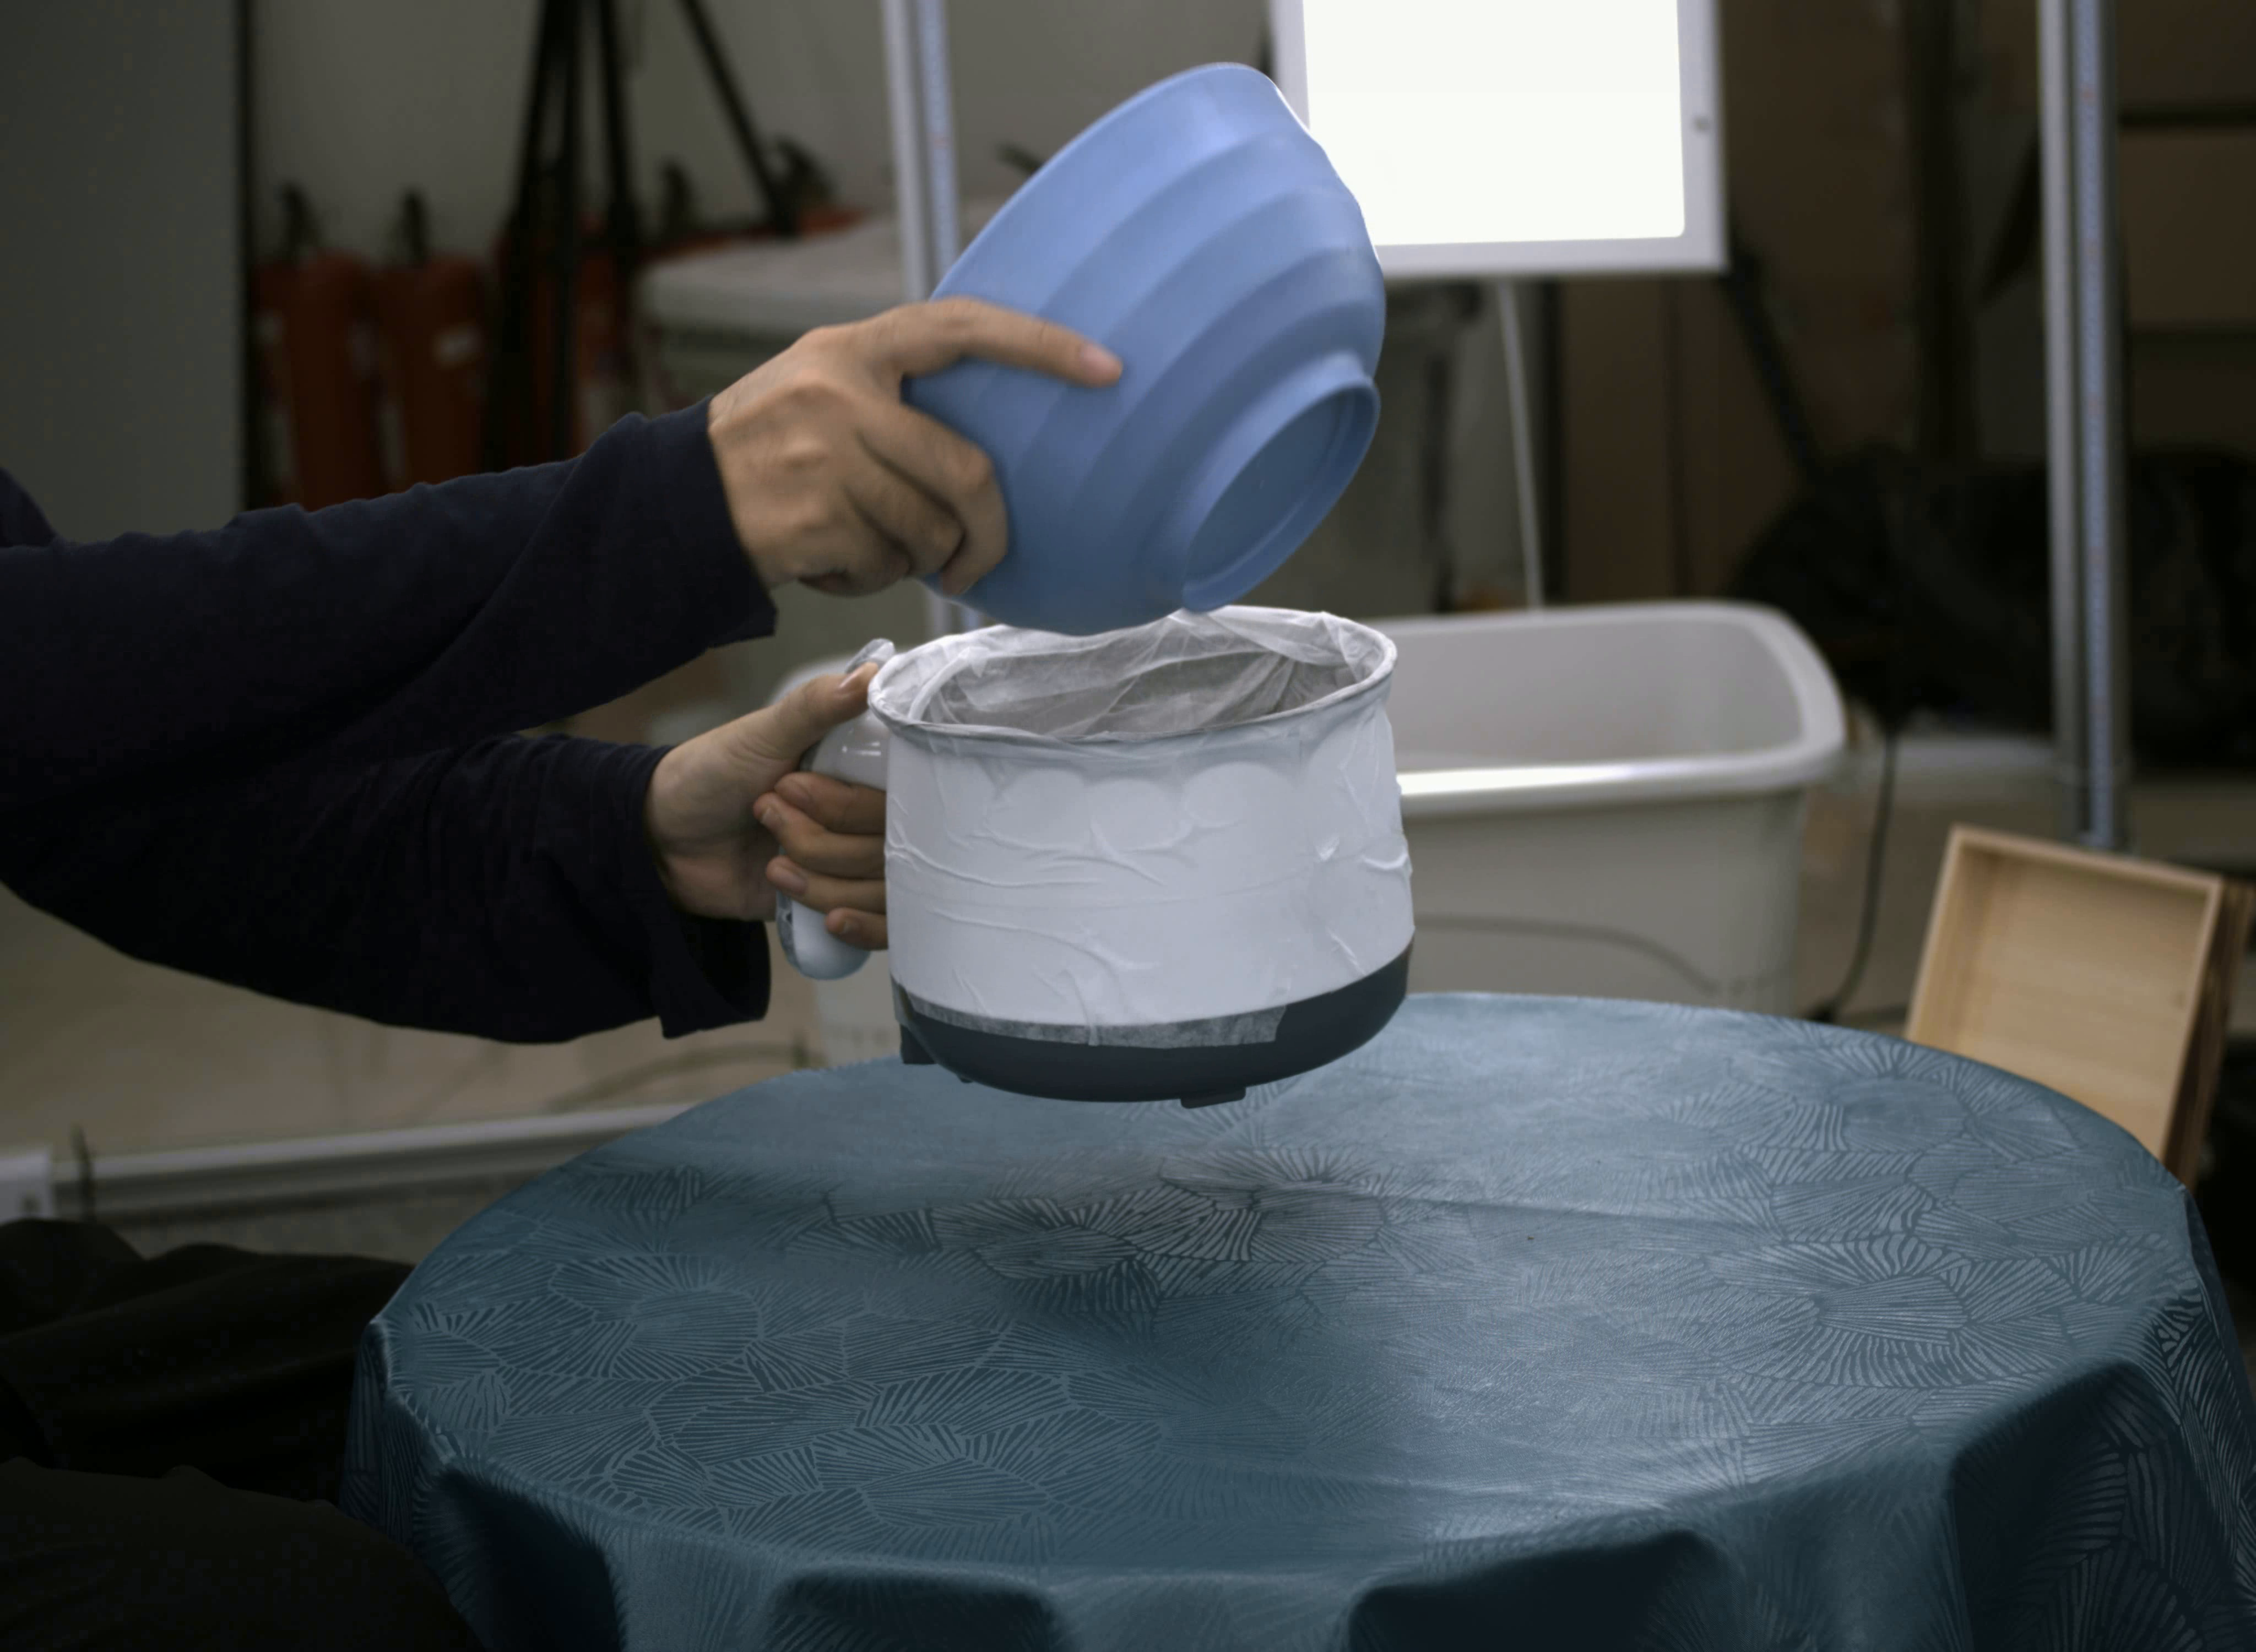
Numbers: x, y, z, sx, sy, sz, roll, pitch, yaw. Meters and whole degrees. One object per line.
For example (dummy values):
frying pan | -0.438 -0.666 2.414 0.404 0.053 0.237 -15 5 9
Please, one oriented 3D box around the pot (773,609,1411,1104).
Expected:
pot | -0.018 0.006 1.854 0.238 0.137 0.175 5 16 29

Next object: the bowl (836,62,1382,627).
bowl | 0.012 -0.131 1.711 0.096 0.200 0.192 45 35 16
